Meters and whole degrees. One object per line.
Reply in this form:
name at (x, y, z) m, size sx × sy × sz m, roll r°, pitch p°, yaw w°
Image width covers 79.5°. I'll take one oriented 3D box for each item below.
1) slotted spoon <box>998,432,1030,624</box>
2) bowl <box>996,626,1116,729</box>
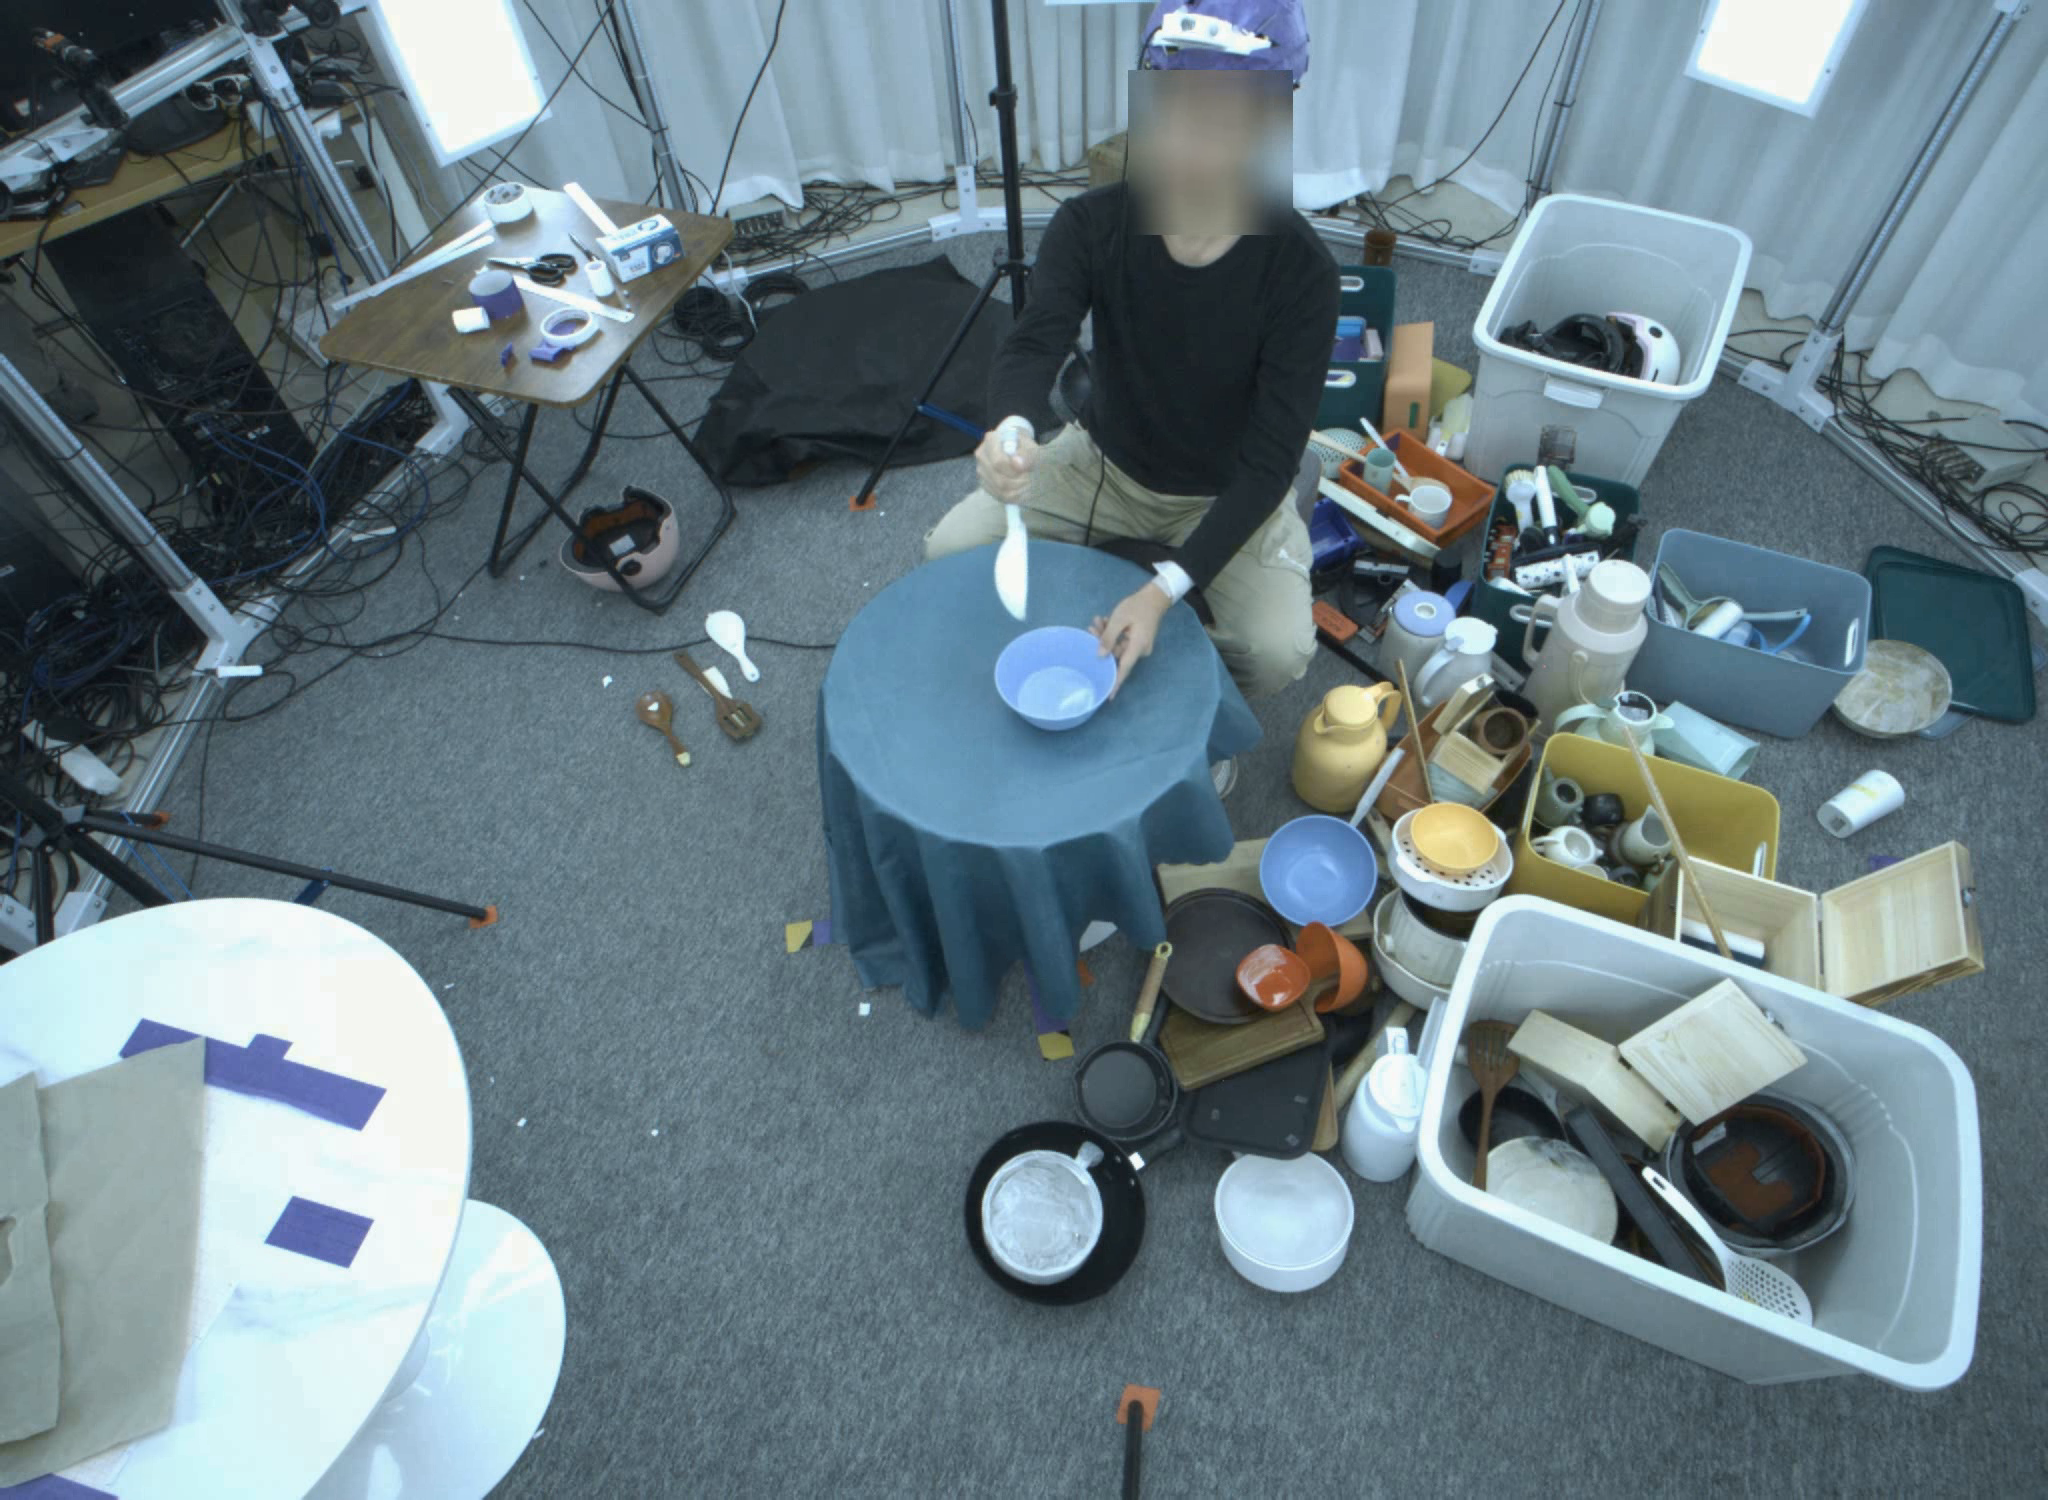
slotted spoon at (-0.010, -0.291, 1.601) m, size 0.046 × 0.352 × 0.135 m, roll 3°, pitch 64°, yaw -1°
bowl at (0.048, -0.096, 1.811) m, size 0.176 × 0.071 × 0.174 m, roll 0°, pitch 54°, yaw 2°
